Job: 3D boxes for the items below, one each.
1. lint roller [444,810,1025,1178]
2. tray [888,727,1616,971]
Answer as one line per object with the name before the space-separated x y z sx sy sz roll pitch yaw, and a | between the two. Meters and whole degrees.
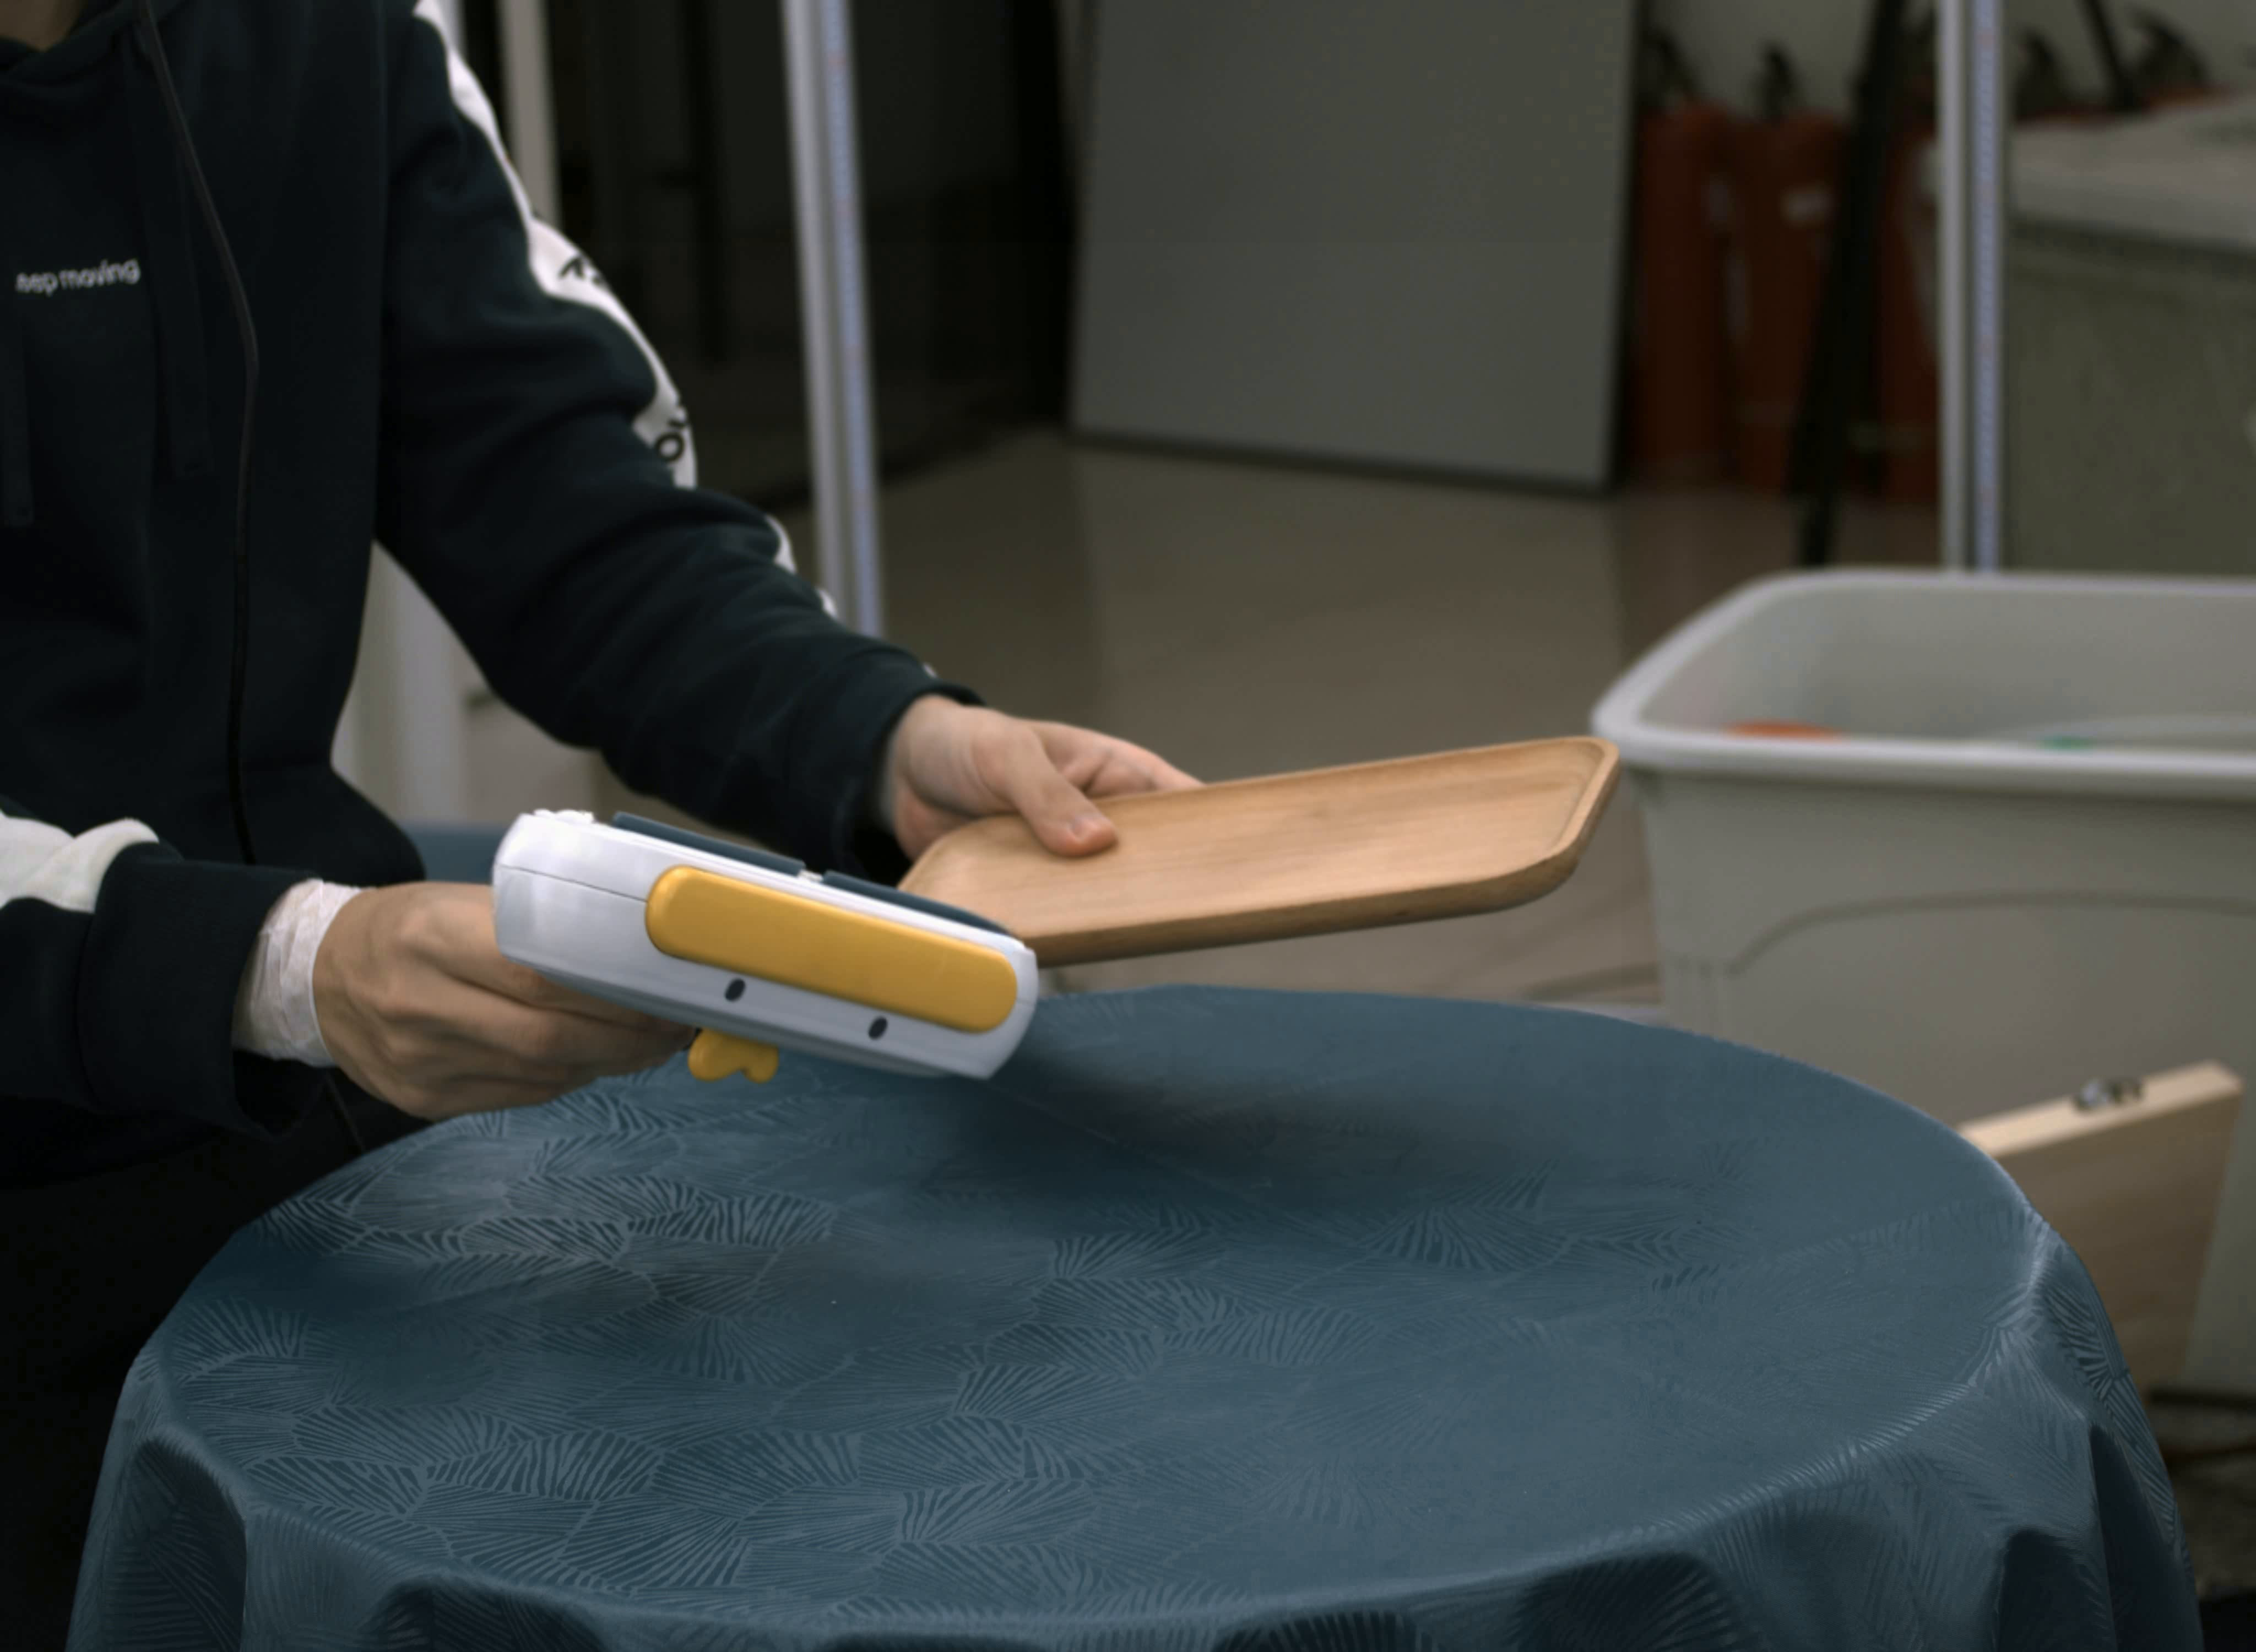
lint roller | -0.151 0.061 1.689 0.188 0.075 0.194 12 -22 -35
tray | 0.038 0.010 1.800 0.250 0.023 0.129 -9 17 22
